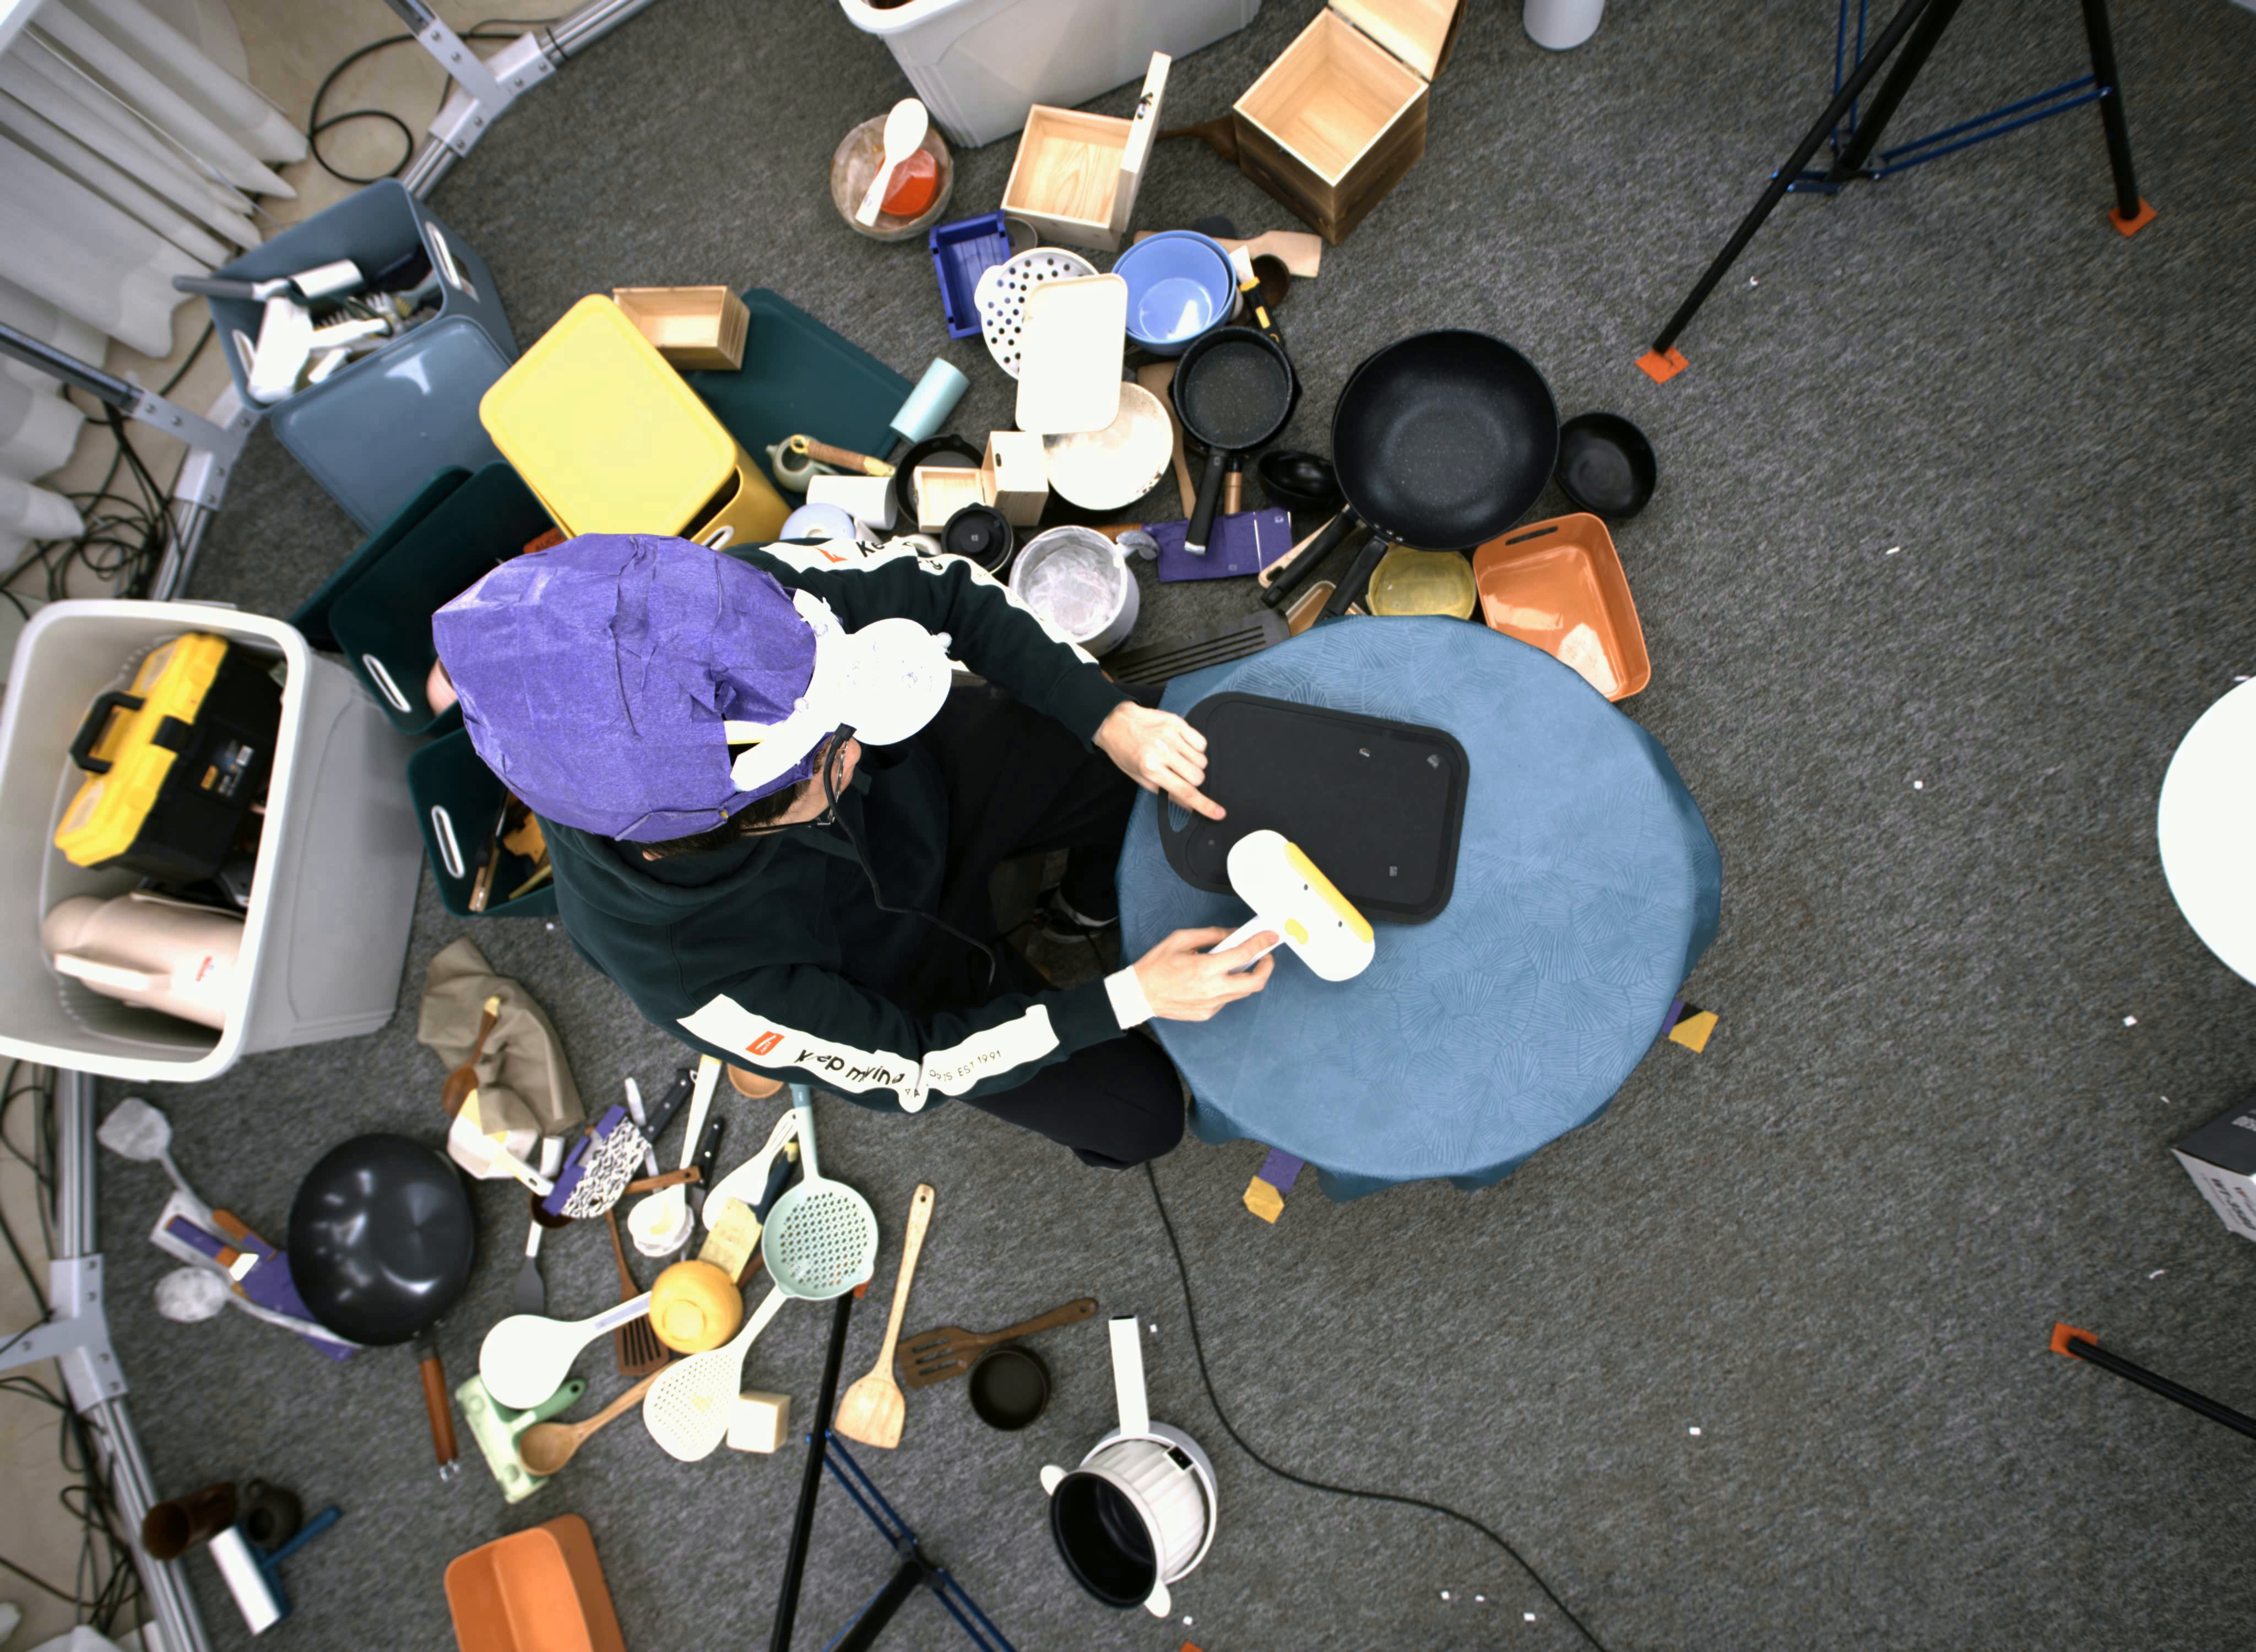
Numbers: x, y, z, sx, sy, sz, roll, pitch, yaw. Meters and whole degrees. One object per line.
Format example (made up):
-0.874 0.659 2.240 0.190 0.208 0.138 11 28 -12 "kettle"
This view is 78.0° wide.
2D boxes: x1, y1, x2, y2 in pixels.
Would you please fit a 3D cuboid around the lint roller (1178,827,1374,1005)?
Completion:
0.127 0.112 1.401 0.194 0.072 0.196 38 123 -25 "lint roller"

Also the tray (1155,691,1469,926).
0.190 -0.020 1.426 0.325 0.010 0.210 9 89 -6 "tray"
